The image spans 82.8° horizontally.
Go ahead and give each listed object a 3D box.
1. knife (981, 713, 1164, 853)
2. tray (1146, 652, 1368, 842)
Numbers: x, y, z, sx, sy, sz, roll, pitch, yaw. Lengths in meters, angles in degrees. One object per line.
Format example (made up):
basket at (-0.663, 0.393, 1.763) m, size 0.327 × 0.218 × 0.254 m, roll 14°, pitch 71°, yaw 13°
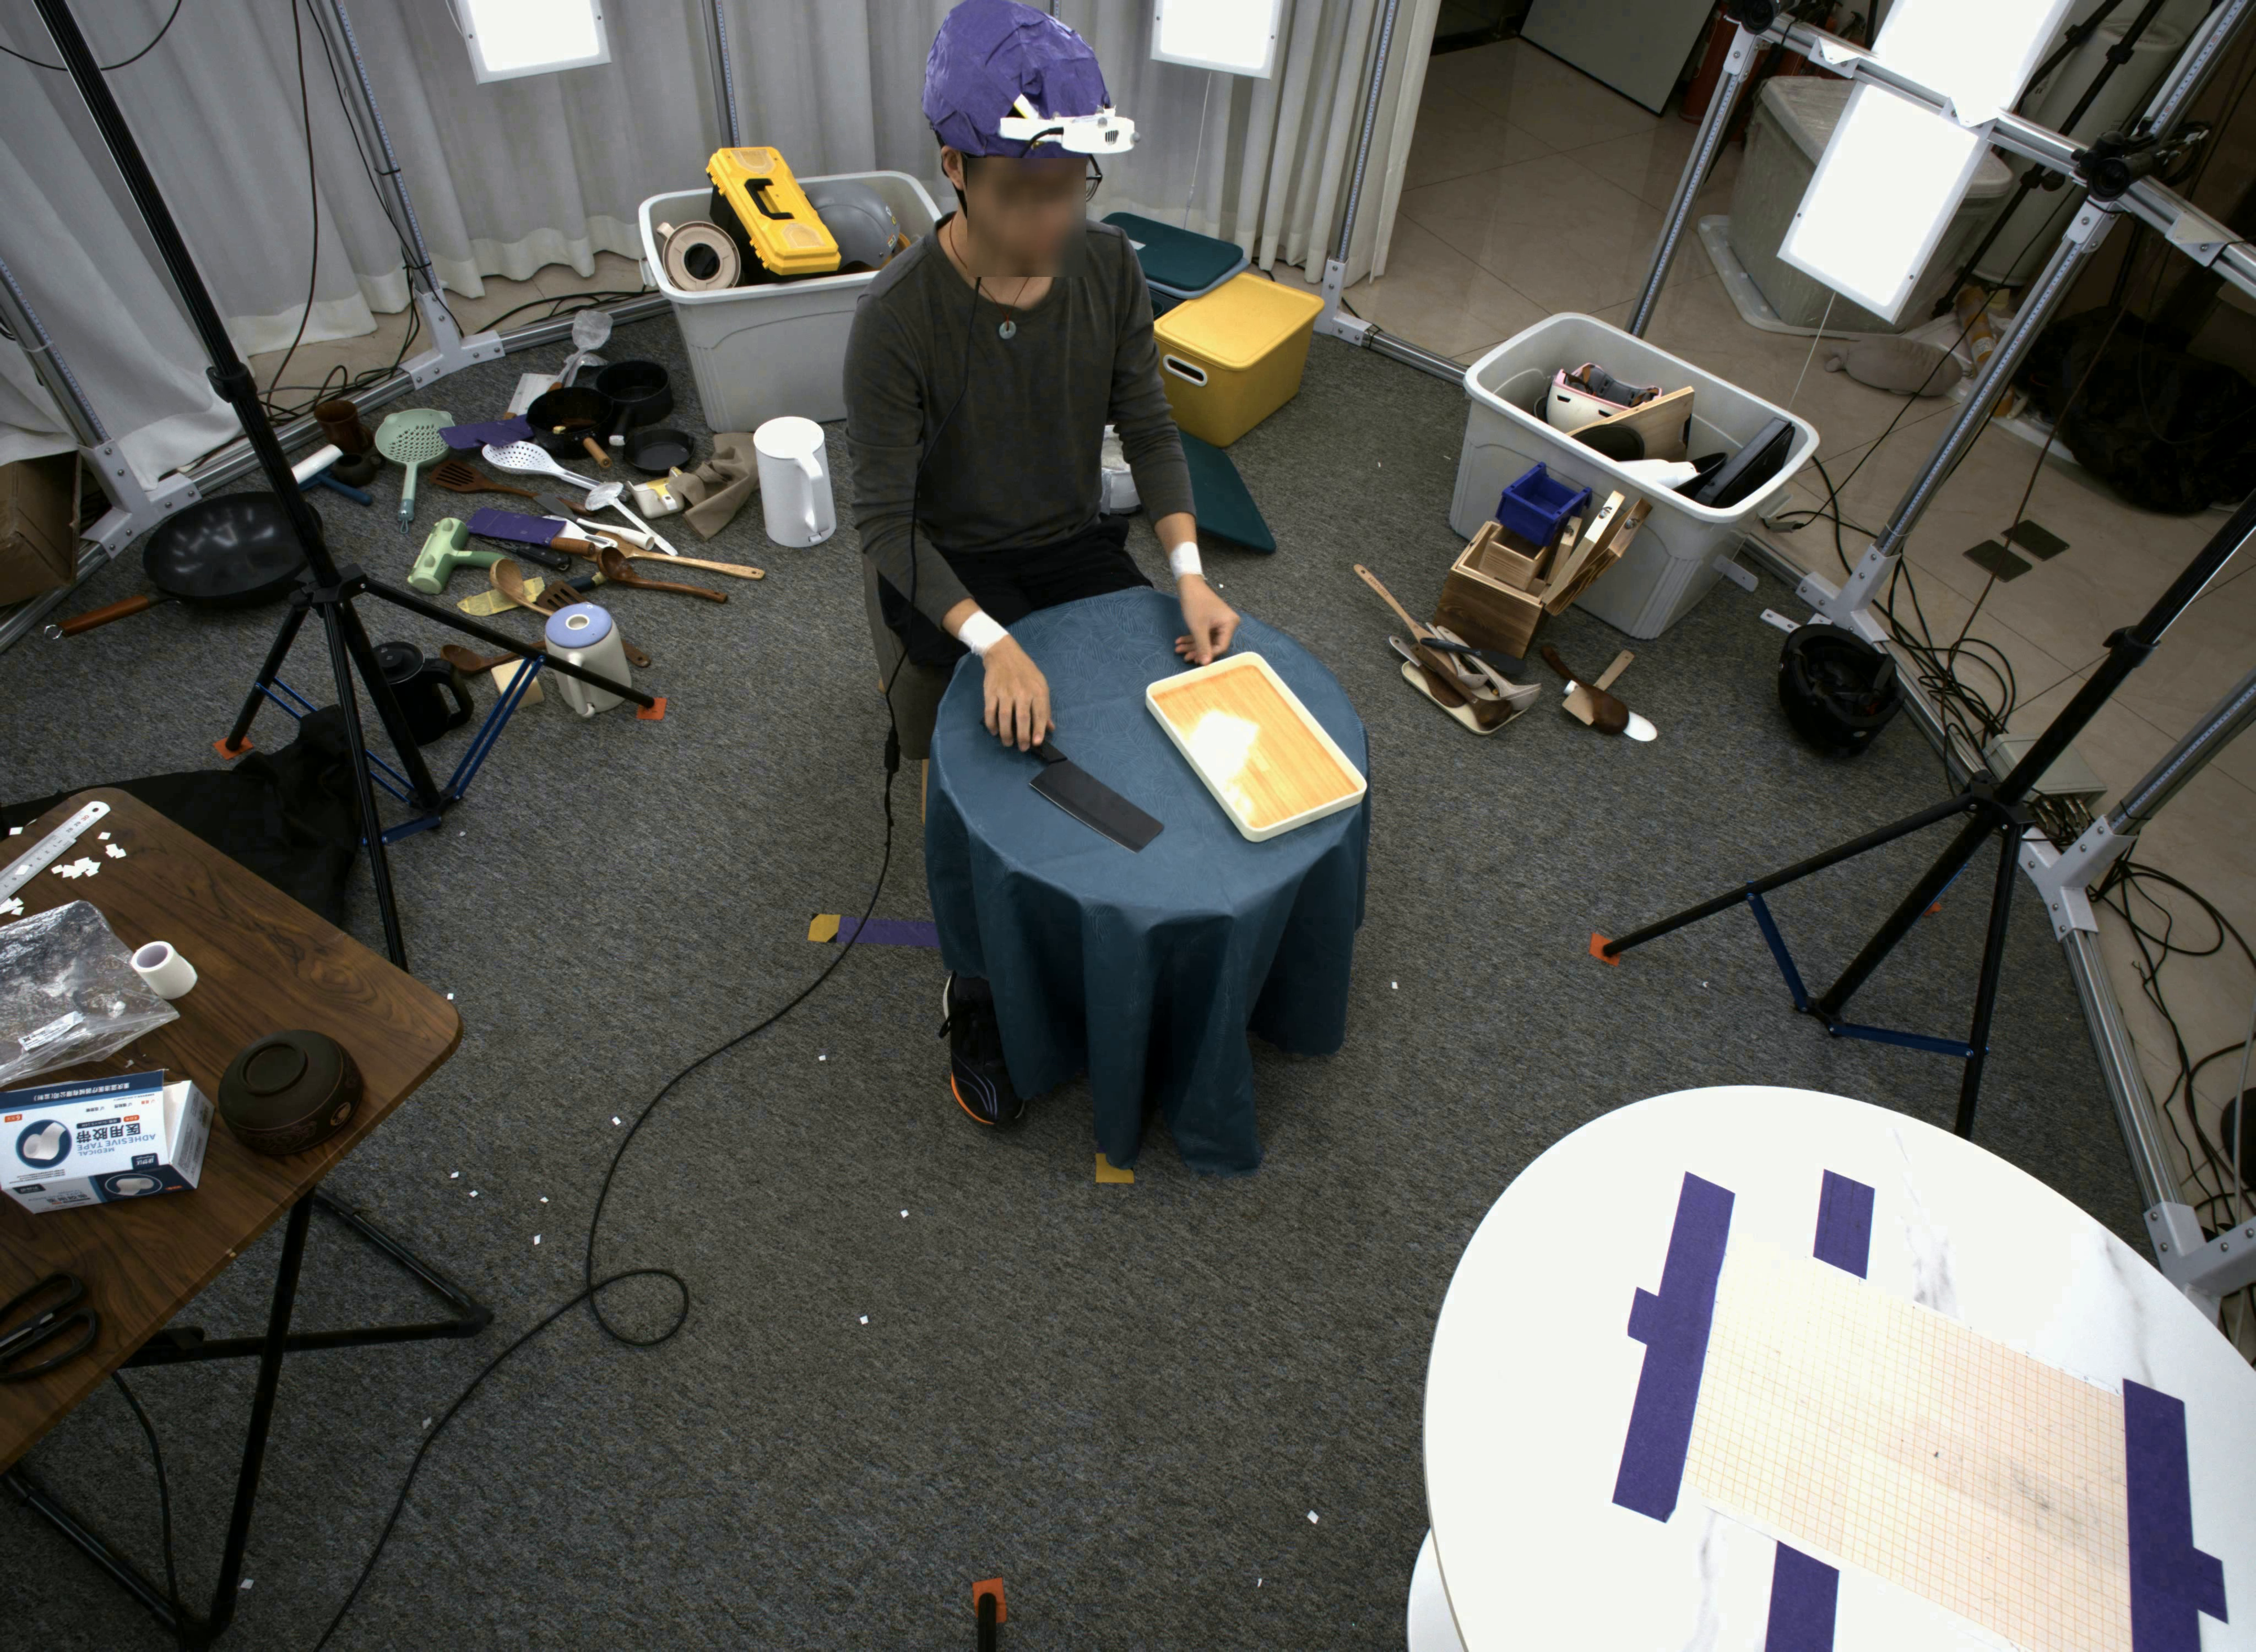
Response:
knife at (-0.084, -0.063, 1.707) m, size 0.306 × 0.020 × 0.082 m, roll 38°, pitch 59°, yaw 24°
tray at (0.172, -0.116, 1.762) m, size 0.192 × 0.027 × 0.307 m, roll -20°, pitch 53°, yaw -20°
